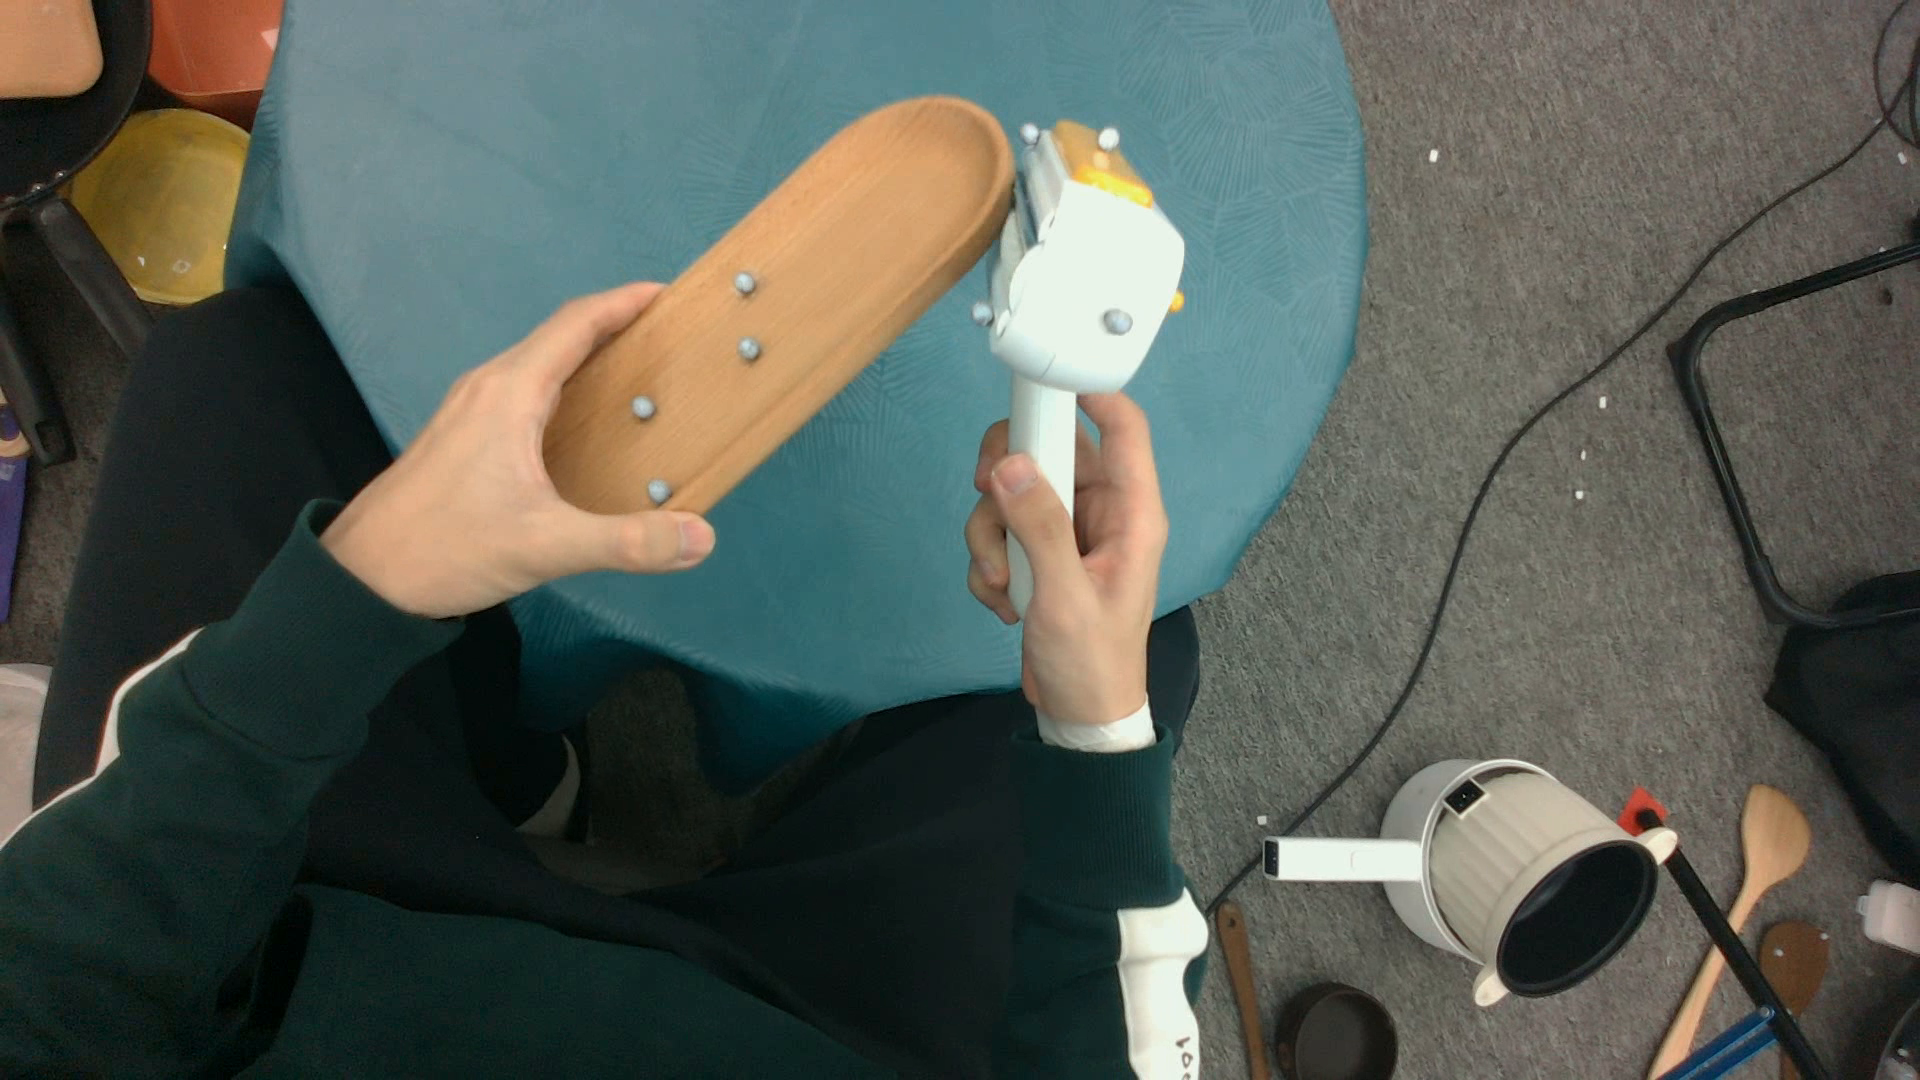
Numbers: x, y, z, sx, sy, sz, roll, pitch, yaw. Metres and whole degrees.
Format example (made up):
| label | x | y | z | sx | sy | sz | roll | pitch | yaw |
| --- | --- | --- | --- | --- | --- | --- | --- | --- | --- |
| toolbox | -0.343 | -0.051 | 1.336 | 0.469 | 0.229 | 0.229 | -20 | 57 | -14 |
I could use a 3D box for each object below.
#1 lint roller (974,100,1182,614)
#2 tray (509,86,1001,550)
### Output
| label | x | y | z | sx | sy | sz | roll | pitch | yaw |
| --- | --- | --- | --- | --- | --- | --- | --- | --- | --- |
| lint roller | 0.027 | -0.060 | 0.530 | 0.074 | 0.193 | 0.191 | 12 | 116 | -10 |
| tray | -0.077 | -0.087 | 0.523 | 0.231 | 0.102 | 0.020 | -44 | 142 | -6 |
